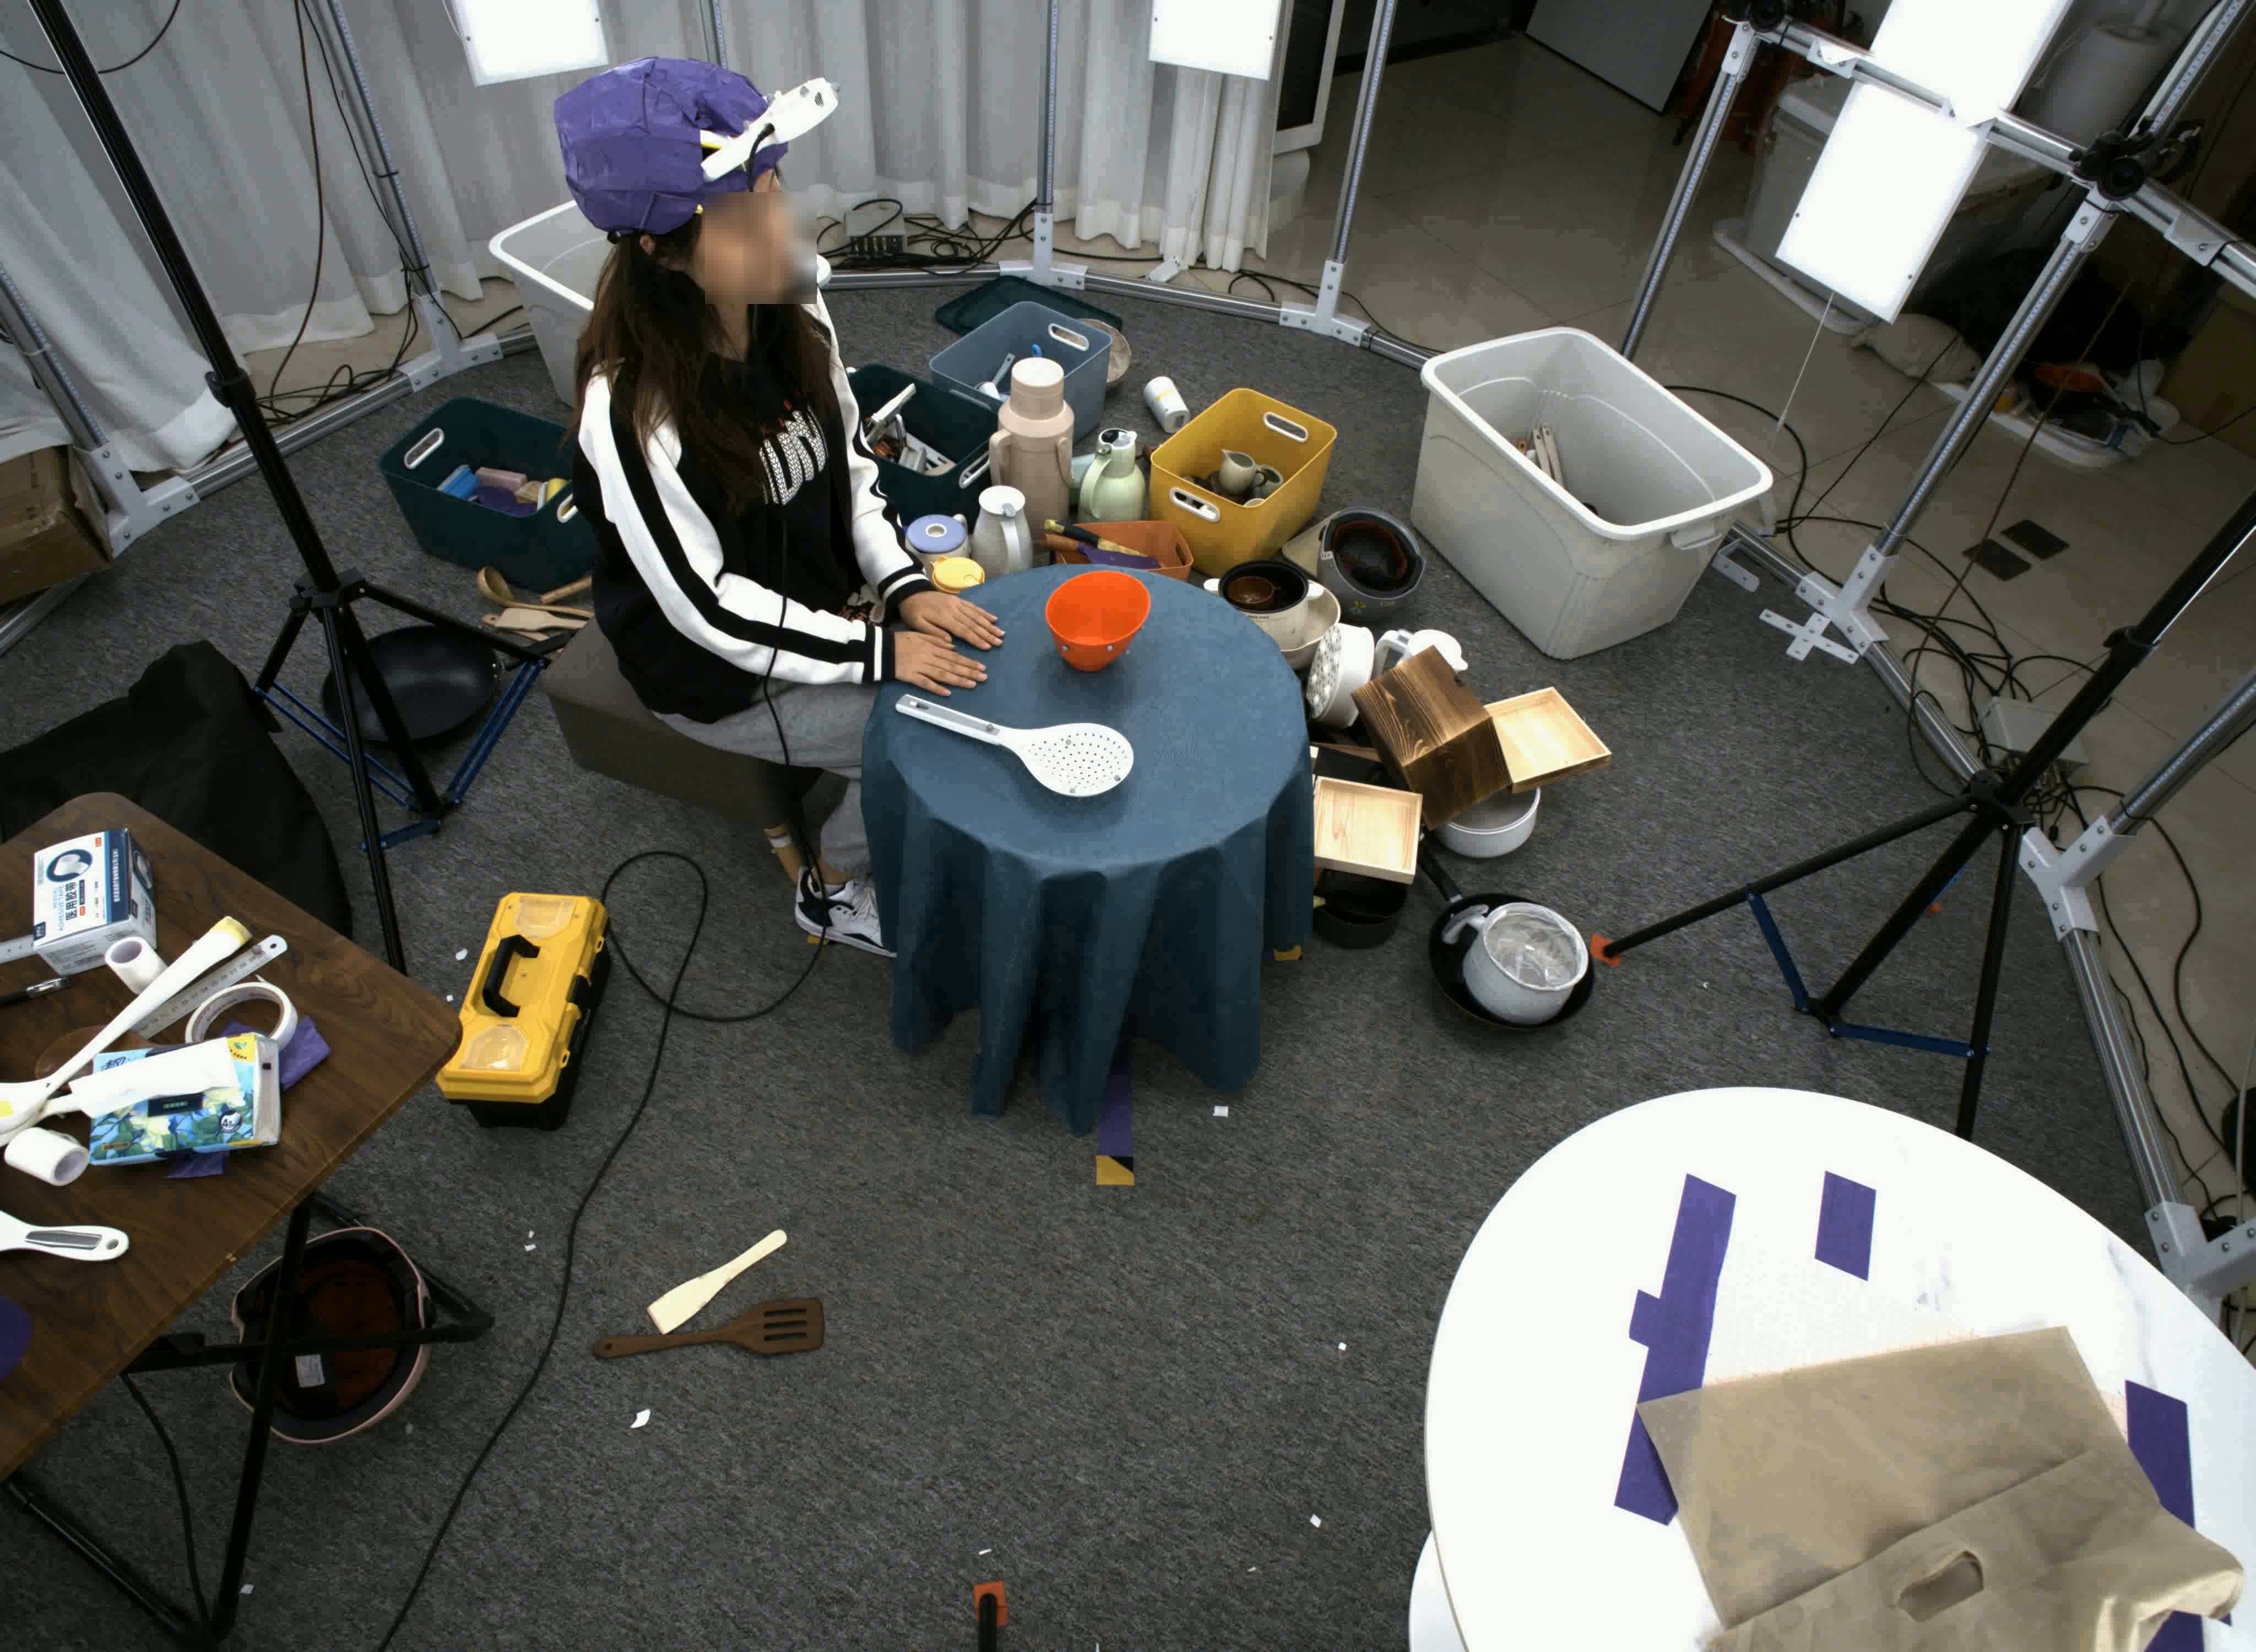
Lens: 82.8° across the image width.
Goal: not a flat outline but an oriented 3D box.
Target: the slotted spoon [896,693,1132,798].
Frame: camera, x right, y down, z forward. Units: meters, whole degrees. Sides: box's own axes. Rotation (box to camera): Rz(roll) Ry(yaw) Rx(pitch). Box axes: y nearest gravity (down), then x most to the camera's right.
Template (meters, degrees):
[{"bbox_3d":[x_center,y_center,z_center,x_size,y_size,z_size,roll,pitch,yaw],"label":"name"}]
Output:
[{"bbox_3d":[-0.159,-0.117,1.732,0.352,0.044,0.138,22,50,16],"label":"slotted spoon"}]

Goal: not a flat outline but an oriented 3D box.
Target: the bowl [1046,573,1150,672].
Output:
[{"bbox_3d":[-0.044,-0.282,1.848,0.148,0.102,0.152,1,51,-2],"label":"bowl"}]
